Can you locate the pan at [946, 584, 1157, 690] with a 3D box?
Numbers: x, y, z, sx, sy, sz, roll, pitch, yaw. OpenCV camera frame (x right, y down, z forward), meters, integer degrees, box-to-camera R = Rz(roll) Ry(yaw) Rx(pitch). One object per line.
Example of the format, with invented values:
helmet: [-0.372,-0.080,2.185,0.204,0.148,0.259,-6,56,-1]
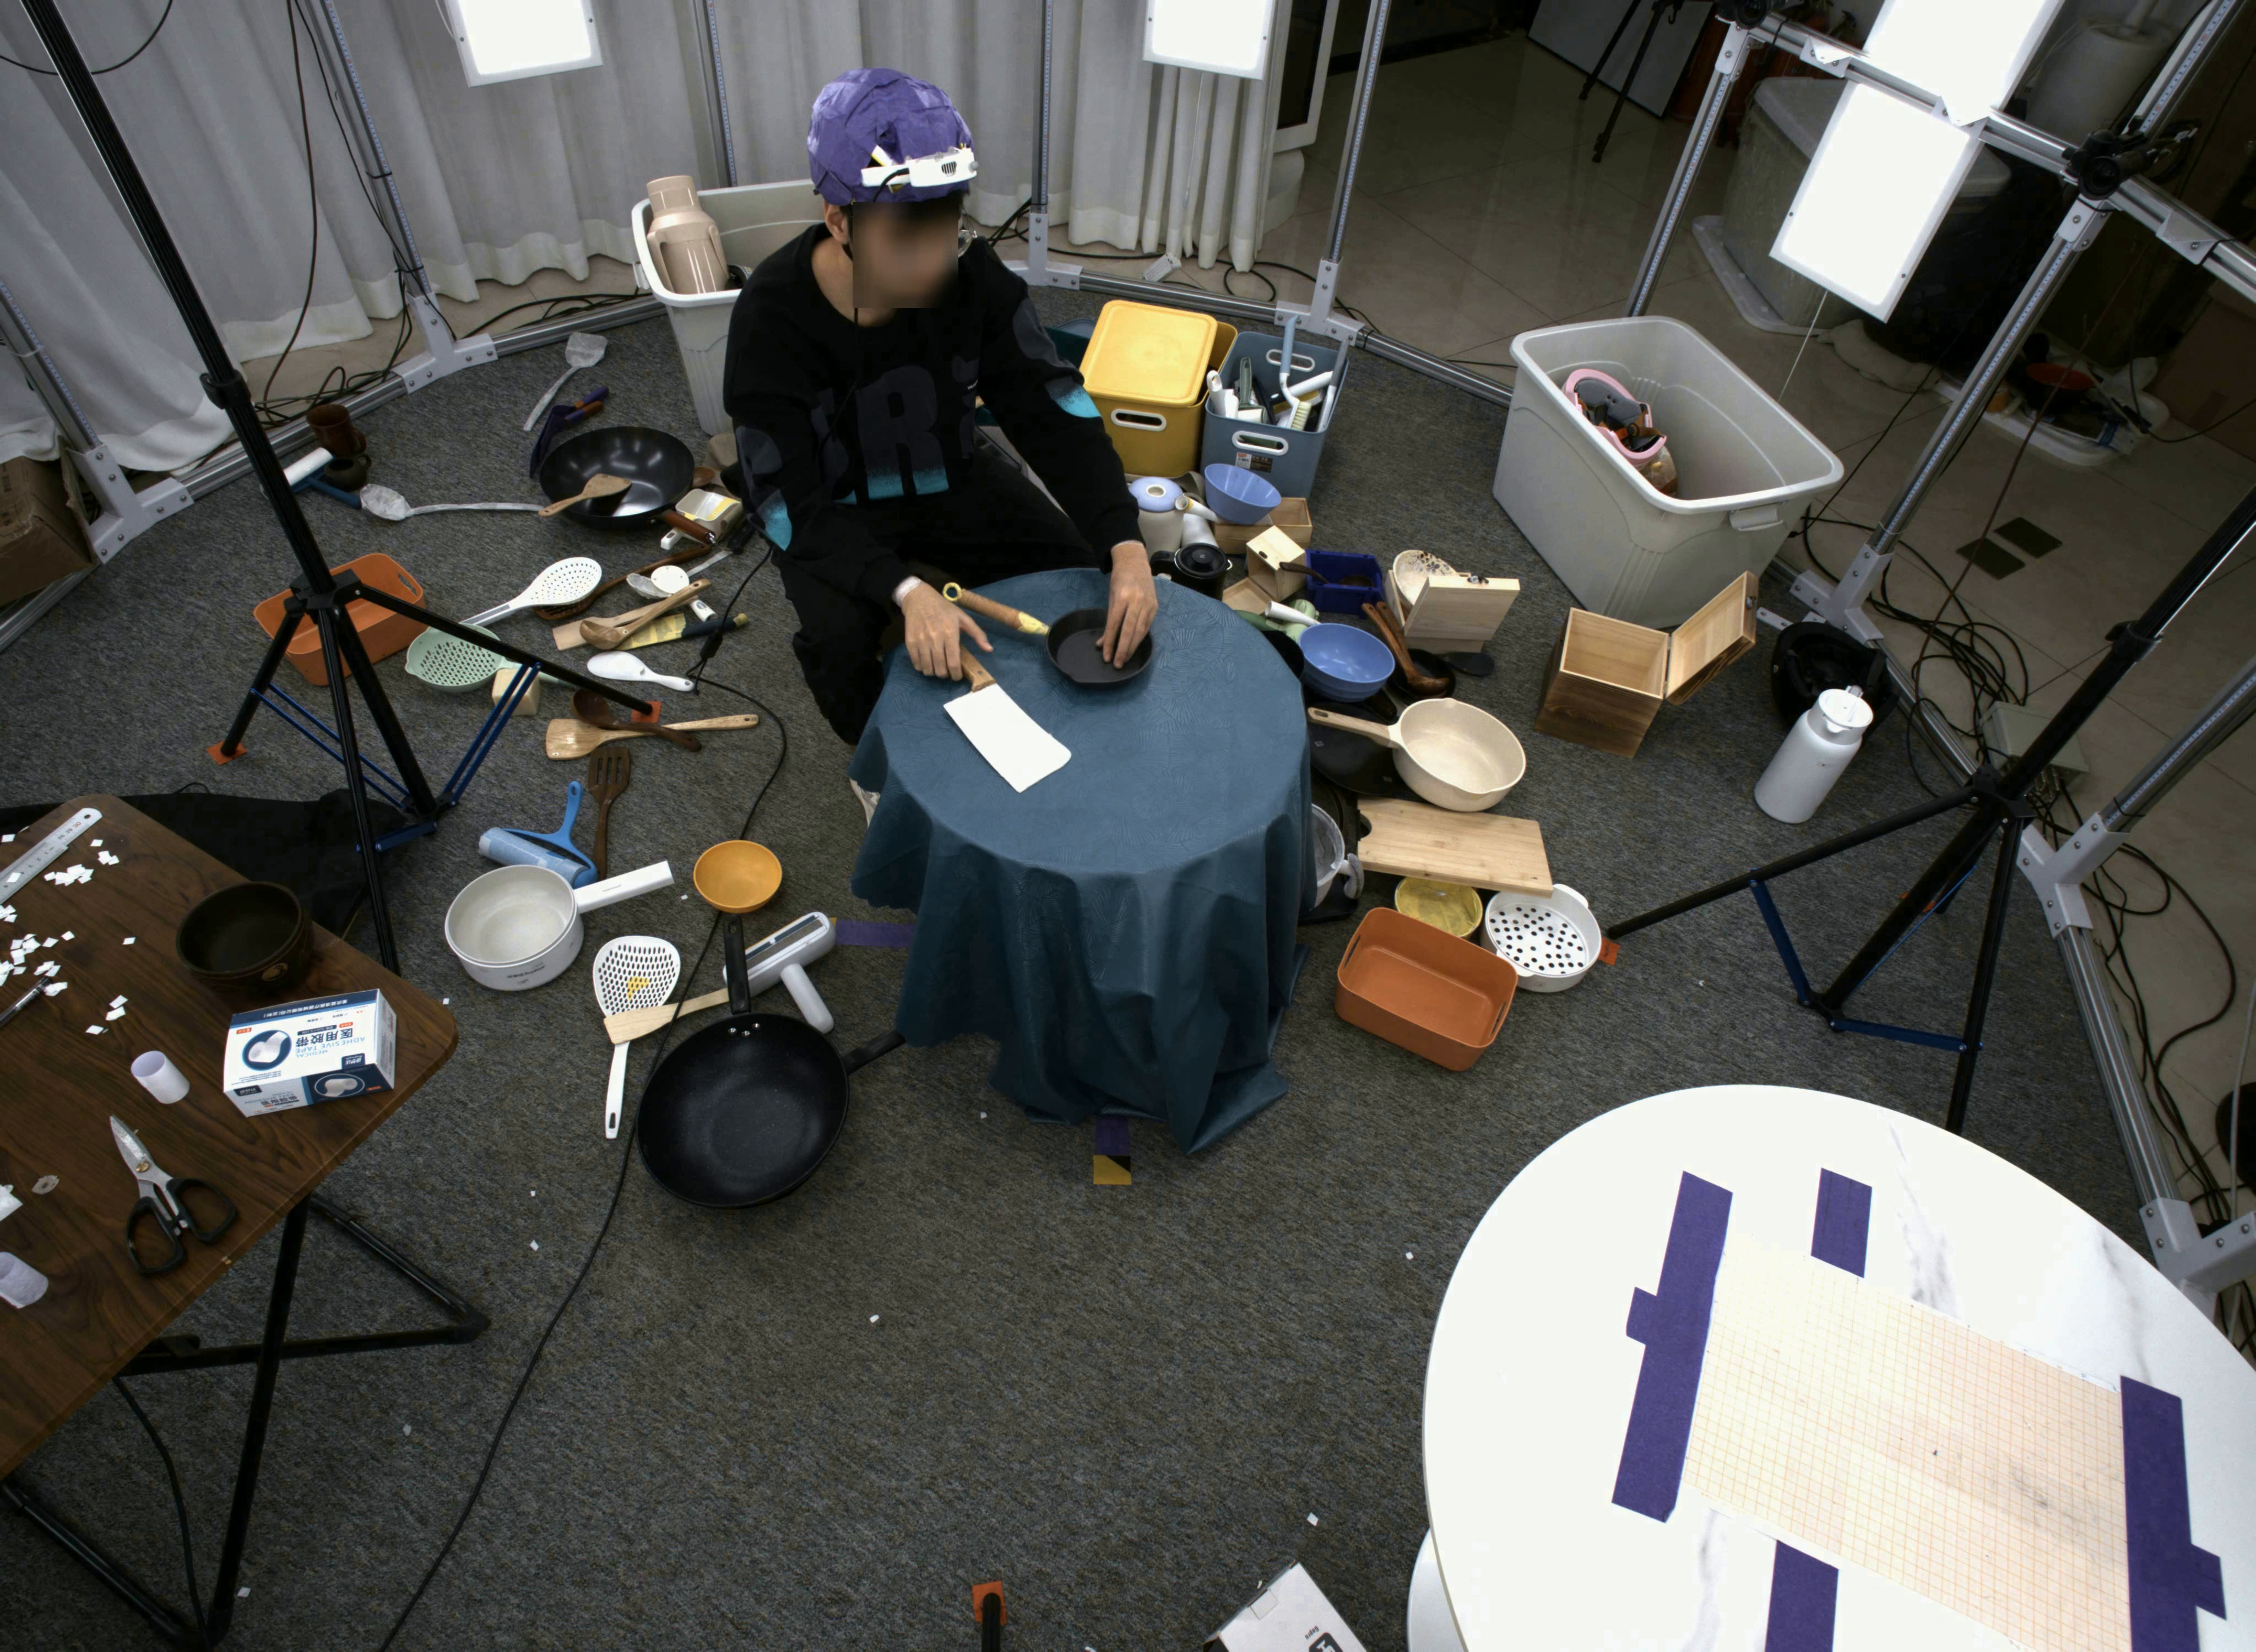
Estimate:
pan: [-0.115,-0.285,1.876,0.325,0.048,0.172,20,51,11]

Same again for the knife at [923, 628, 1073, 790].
knife: [-0.192,-0.170,1.792,0.114,0.021,0.321,-25,58,-23]
